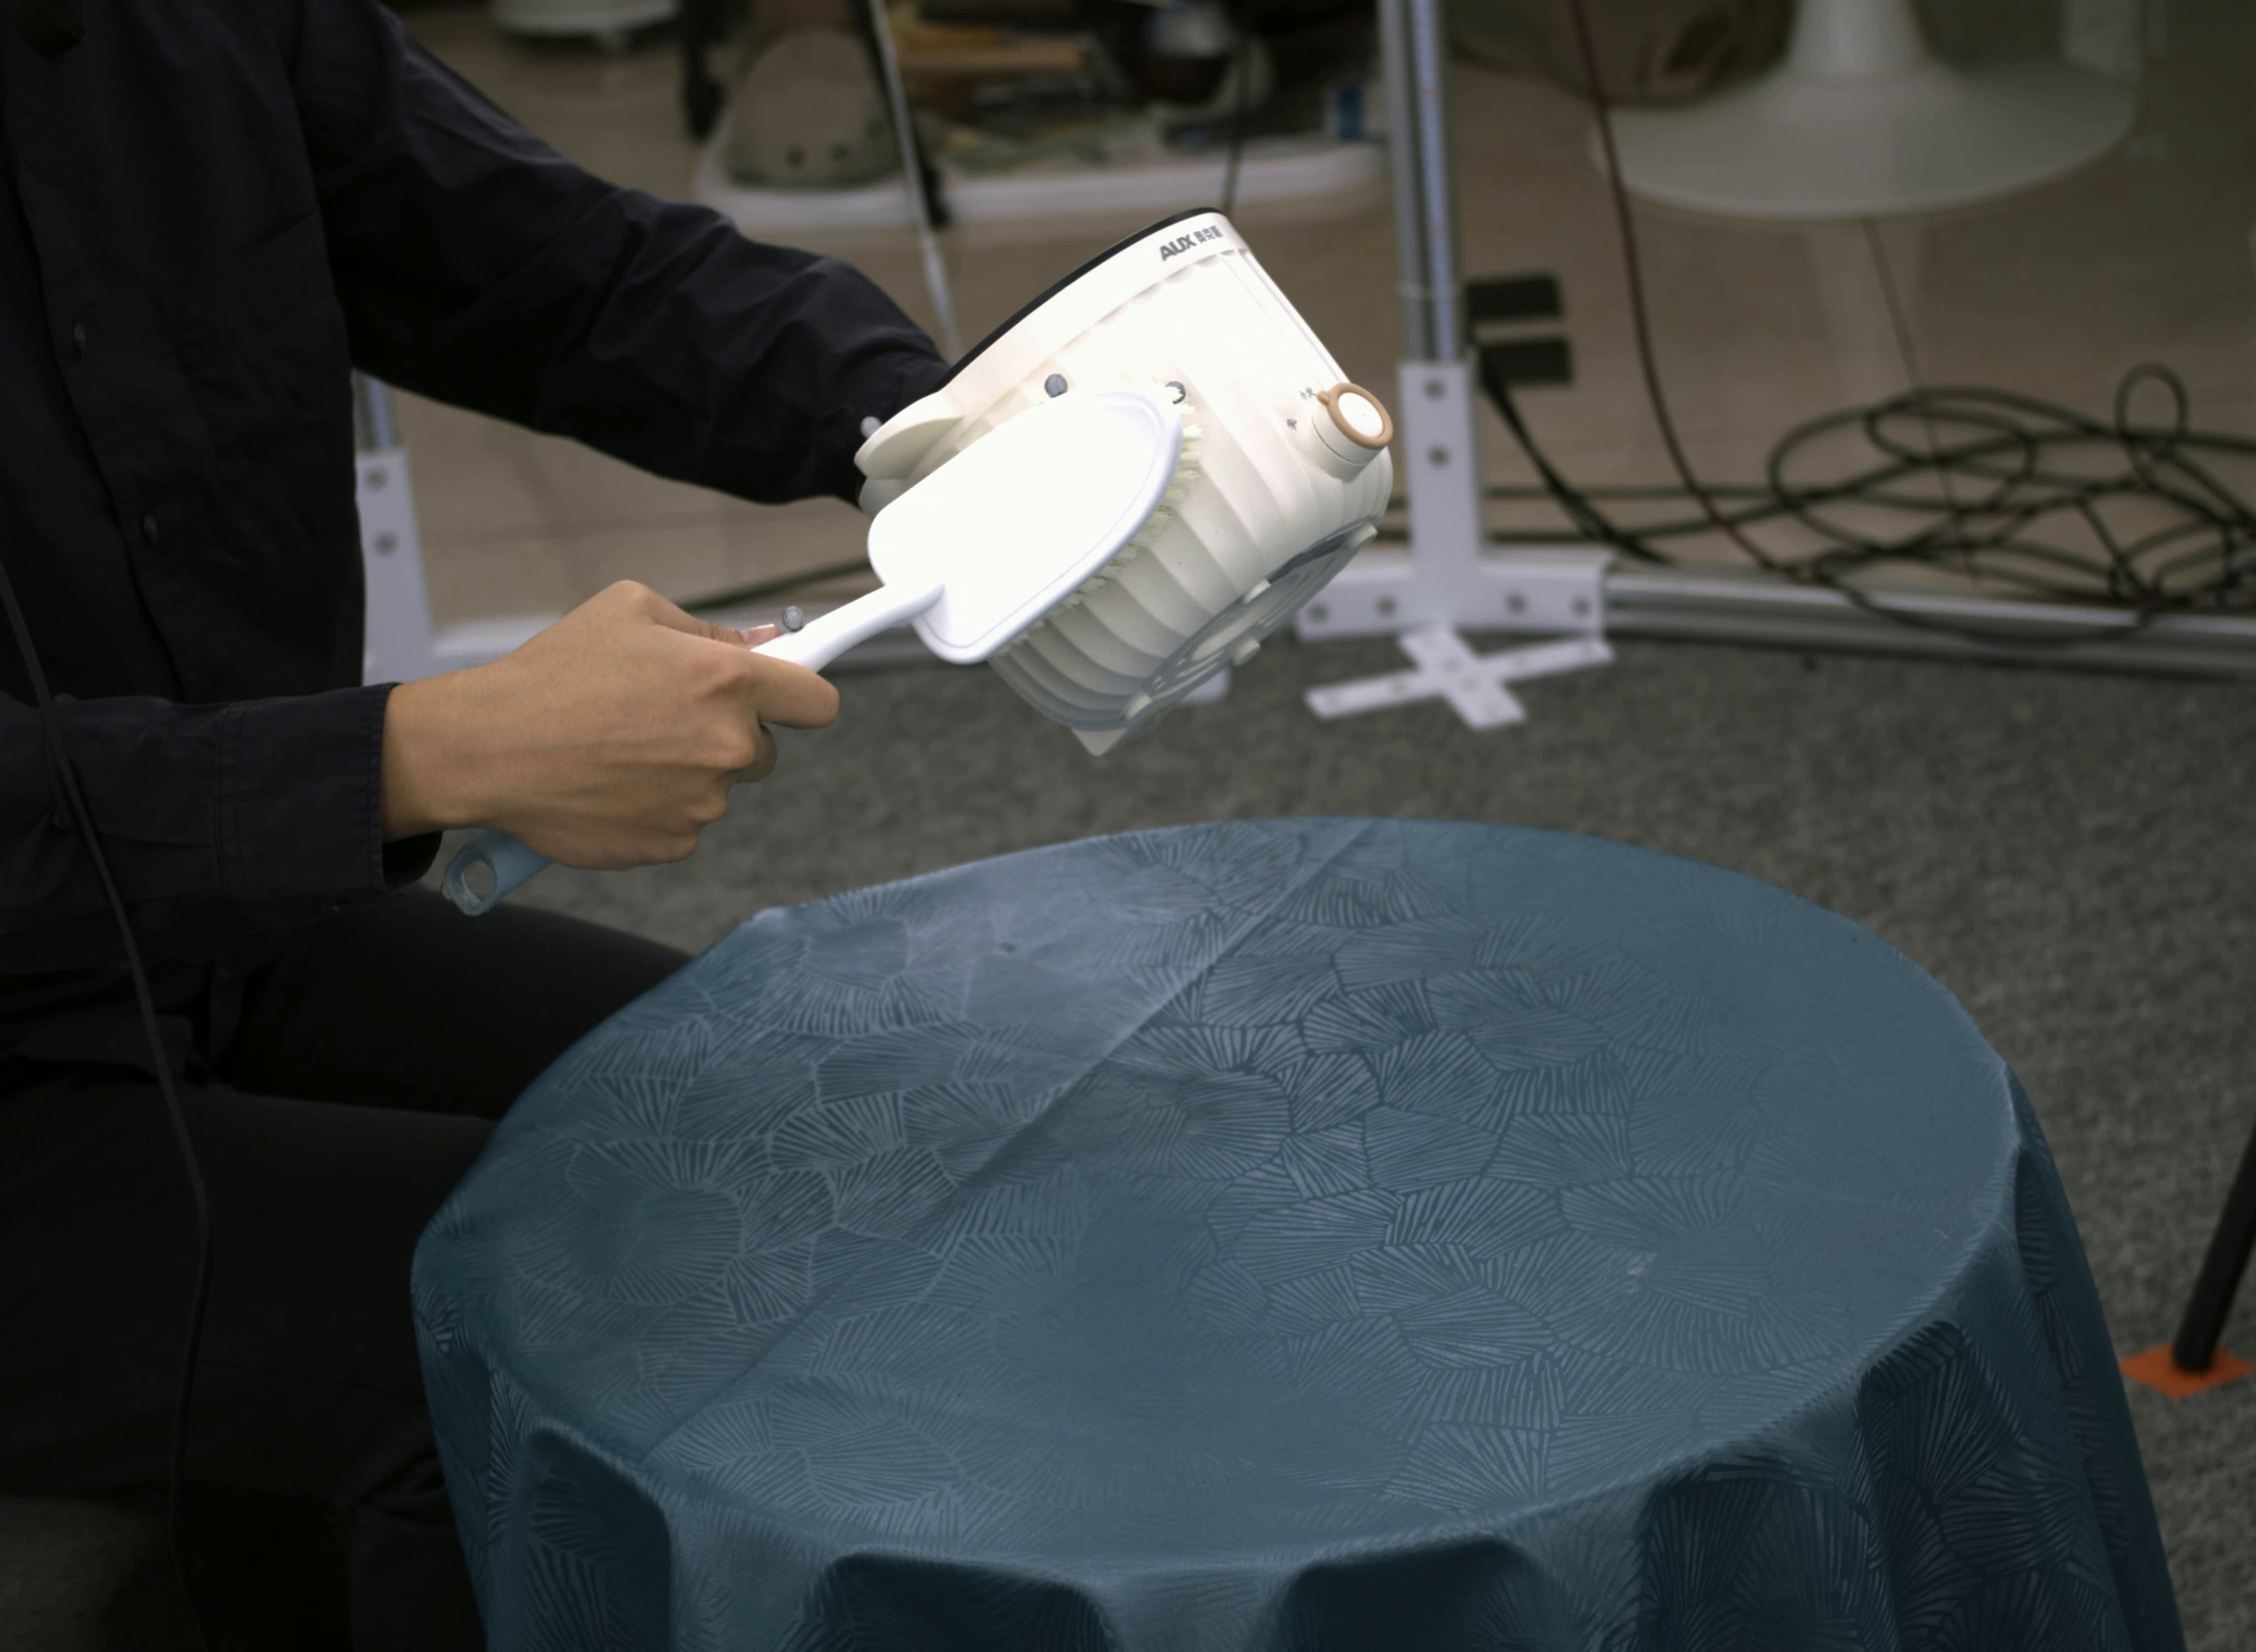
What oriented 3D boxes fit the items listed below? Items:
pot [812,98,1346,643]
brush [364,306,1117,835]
[{"bbox_3d":[-0.008,-0.179,2.210,0.142,0.193,0.238,50,37,7],"label":"pot"},{"bbox_3d":[-0.145,-0.096,2.106,0.325,0.086,0.082,-34,51,2],"label":"brush"}]
